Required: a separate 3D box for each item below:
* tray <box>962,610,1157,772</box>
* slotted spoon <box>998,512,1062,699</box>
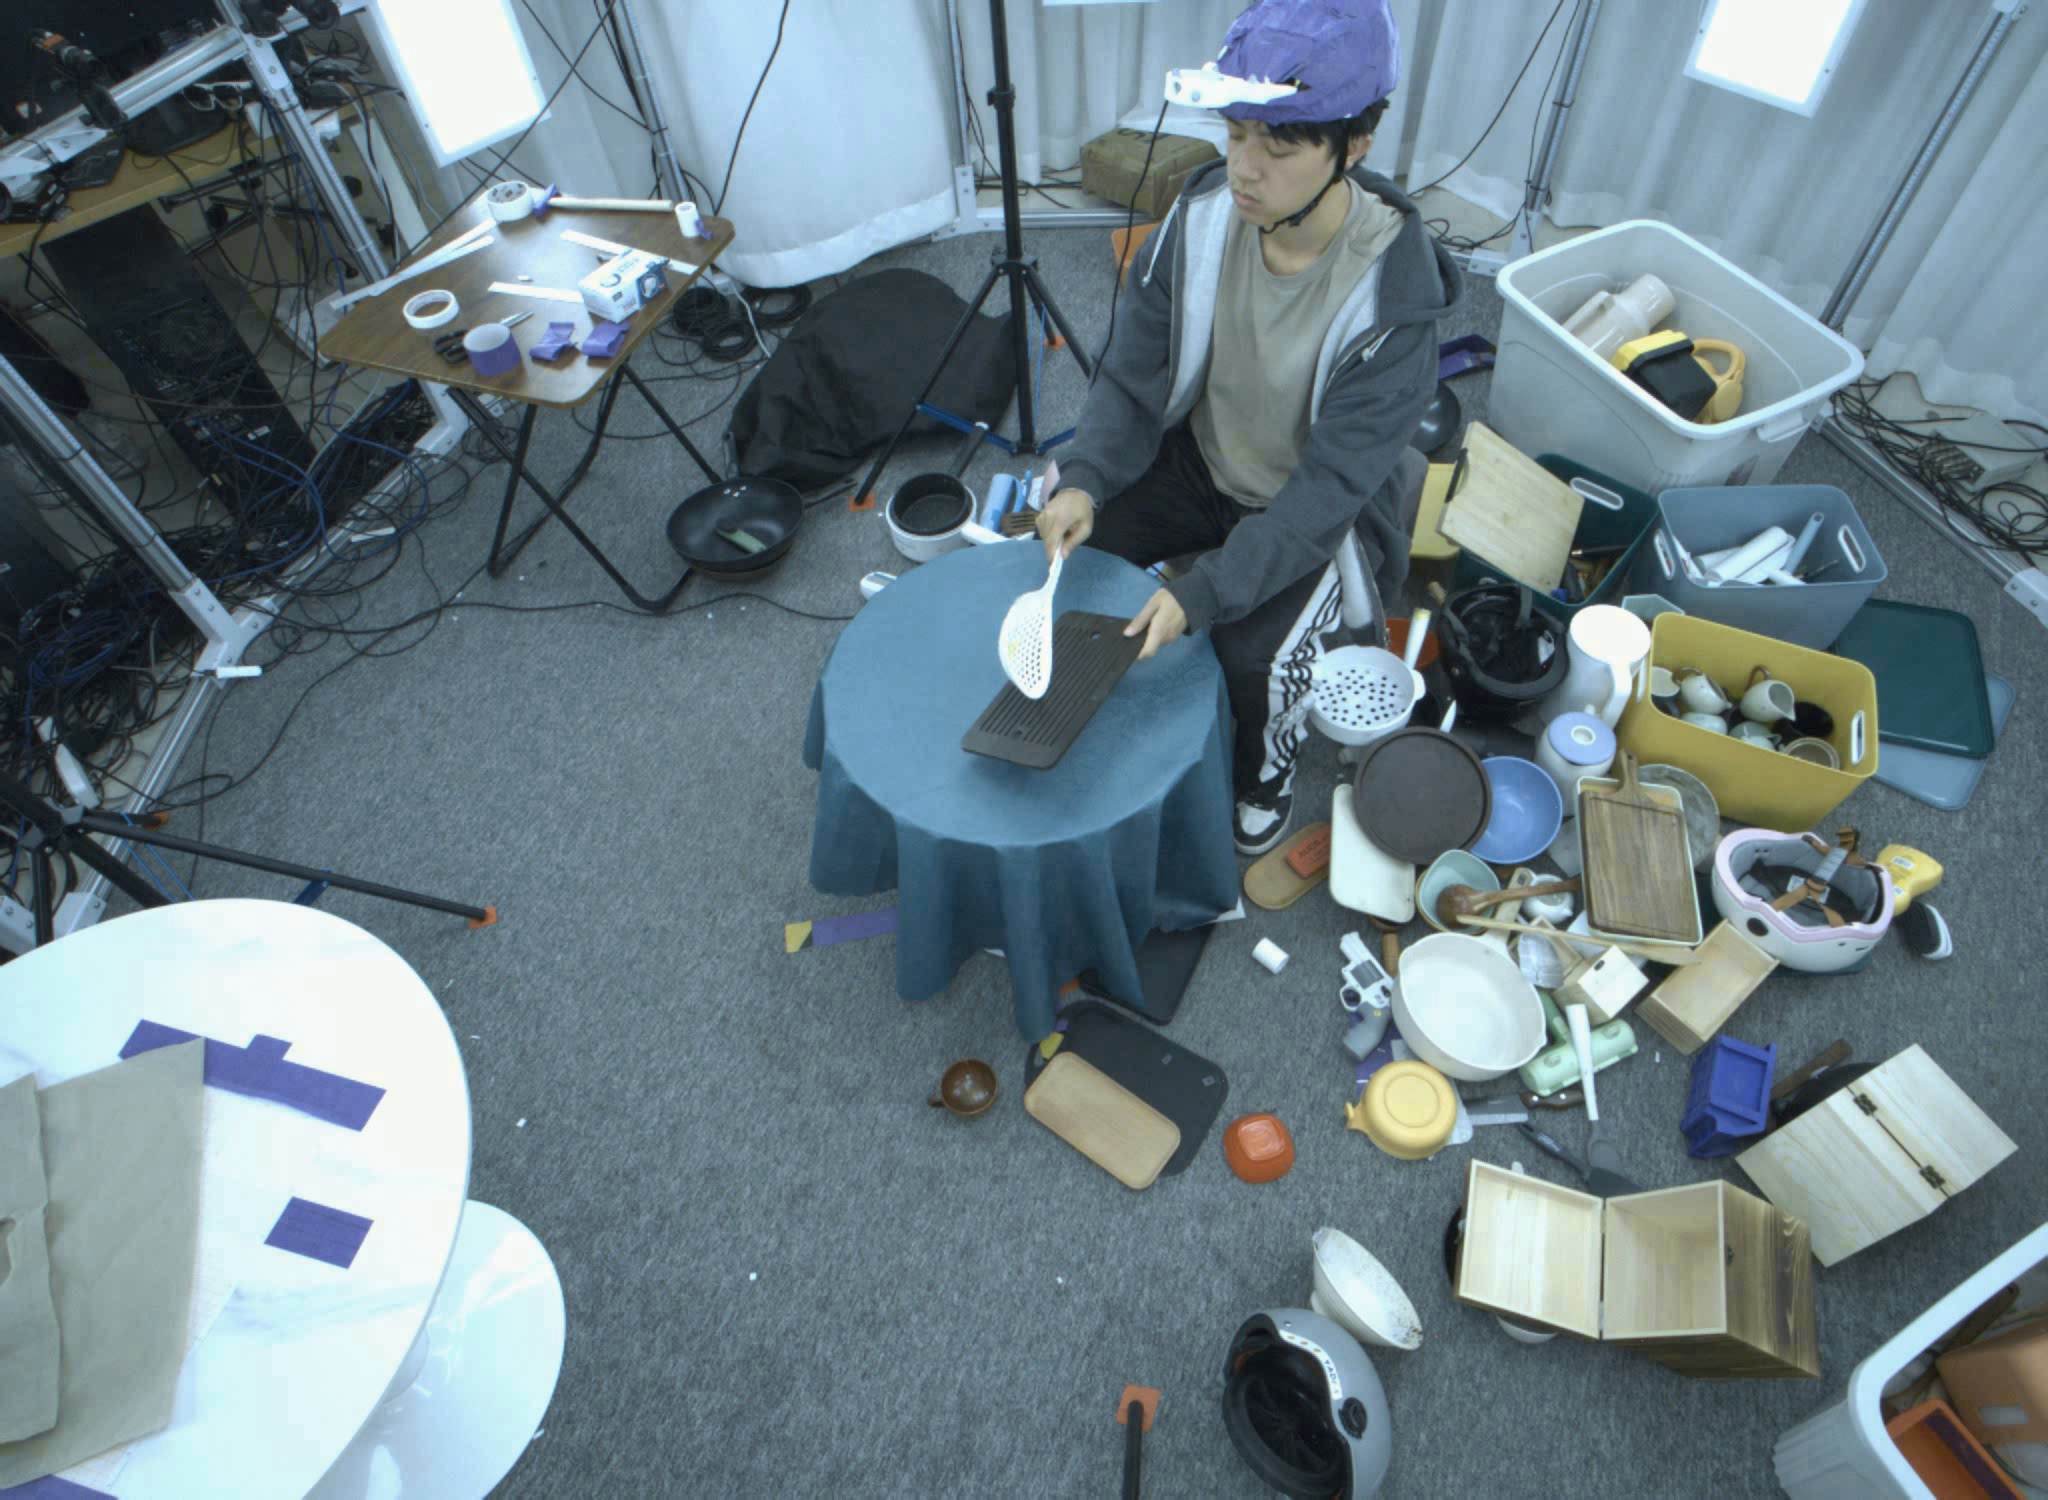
[{"bbox_3d":[0.054,-0.090,1.773,0.166,0.019,0.307,14,53,35],"label":"tray"},{"bbox_3d":[0.023,-0.226,1.803,0.049,0.140,0.347,-3,51,31],"label":"slotted spoon"}]
